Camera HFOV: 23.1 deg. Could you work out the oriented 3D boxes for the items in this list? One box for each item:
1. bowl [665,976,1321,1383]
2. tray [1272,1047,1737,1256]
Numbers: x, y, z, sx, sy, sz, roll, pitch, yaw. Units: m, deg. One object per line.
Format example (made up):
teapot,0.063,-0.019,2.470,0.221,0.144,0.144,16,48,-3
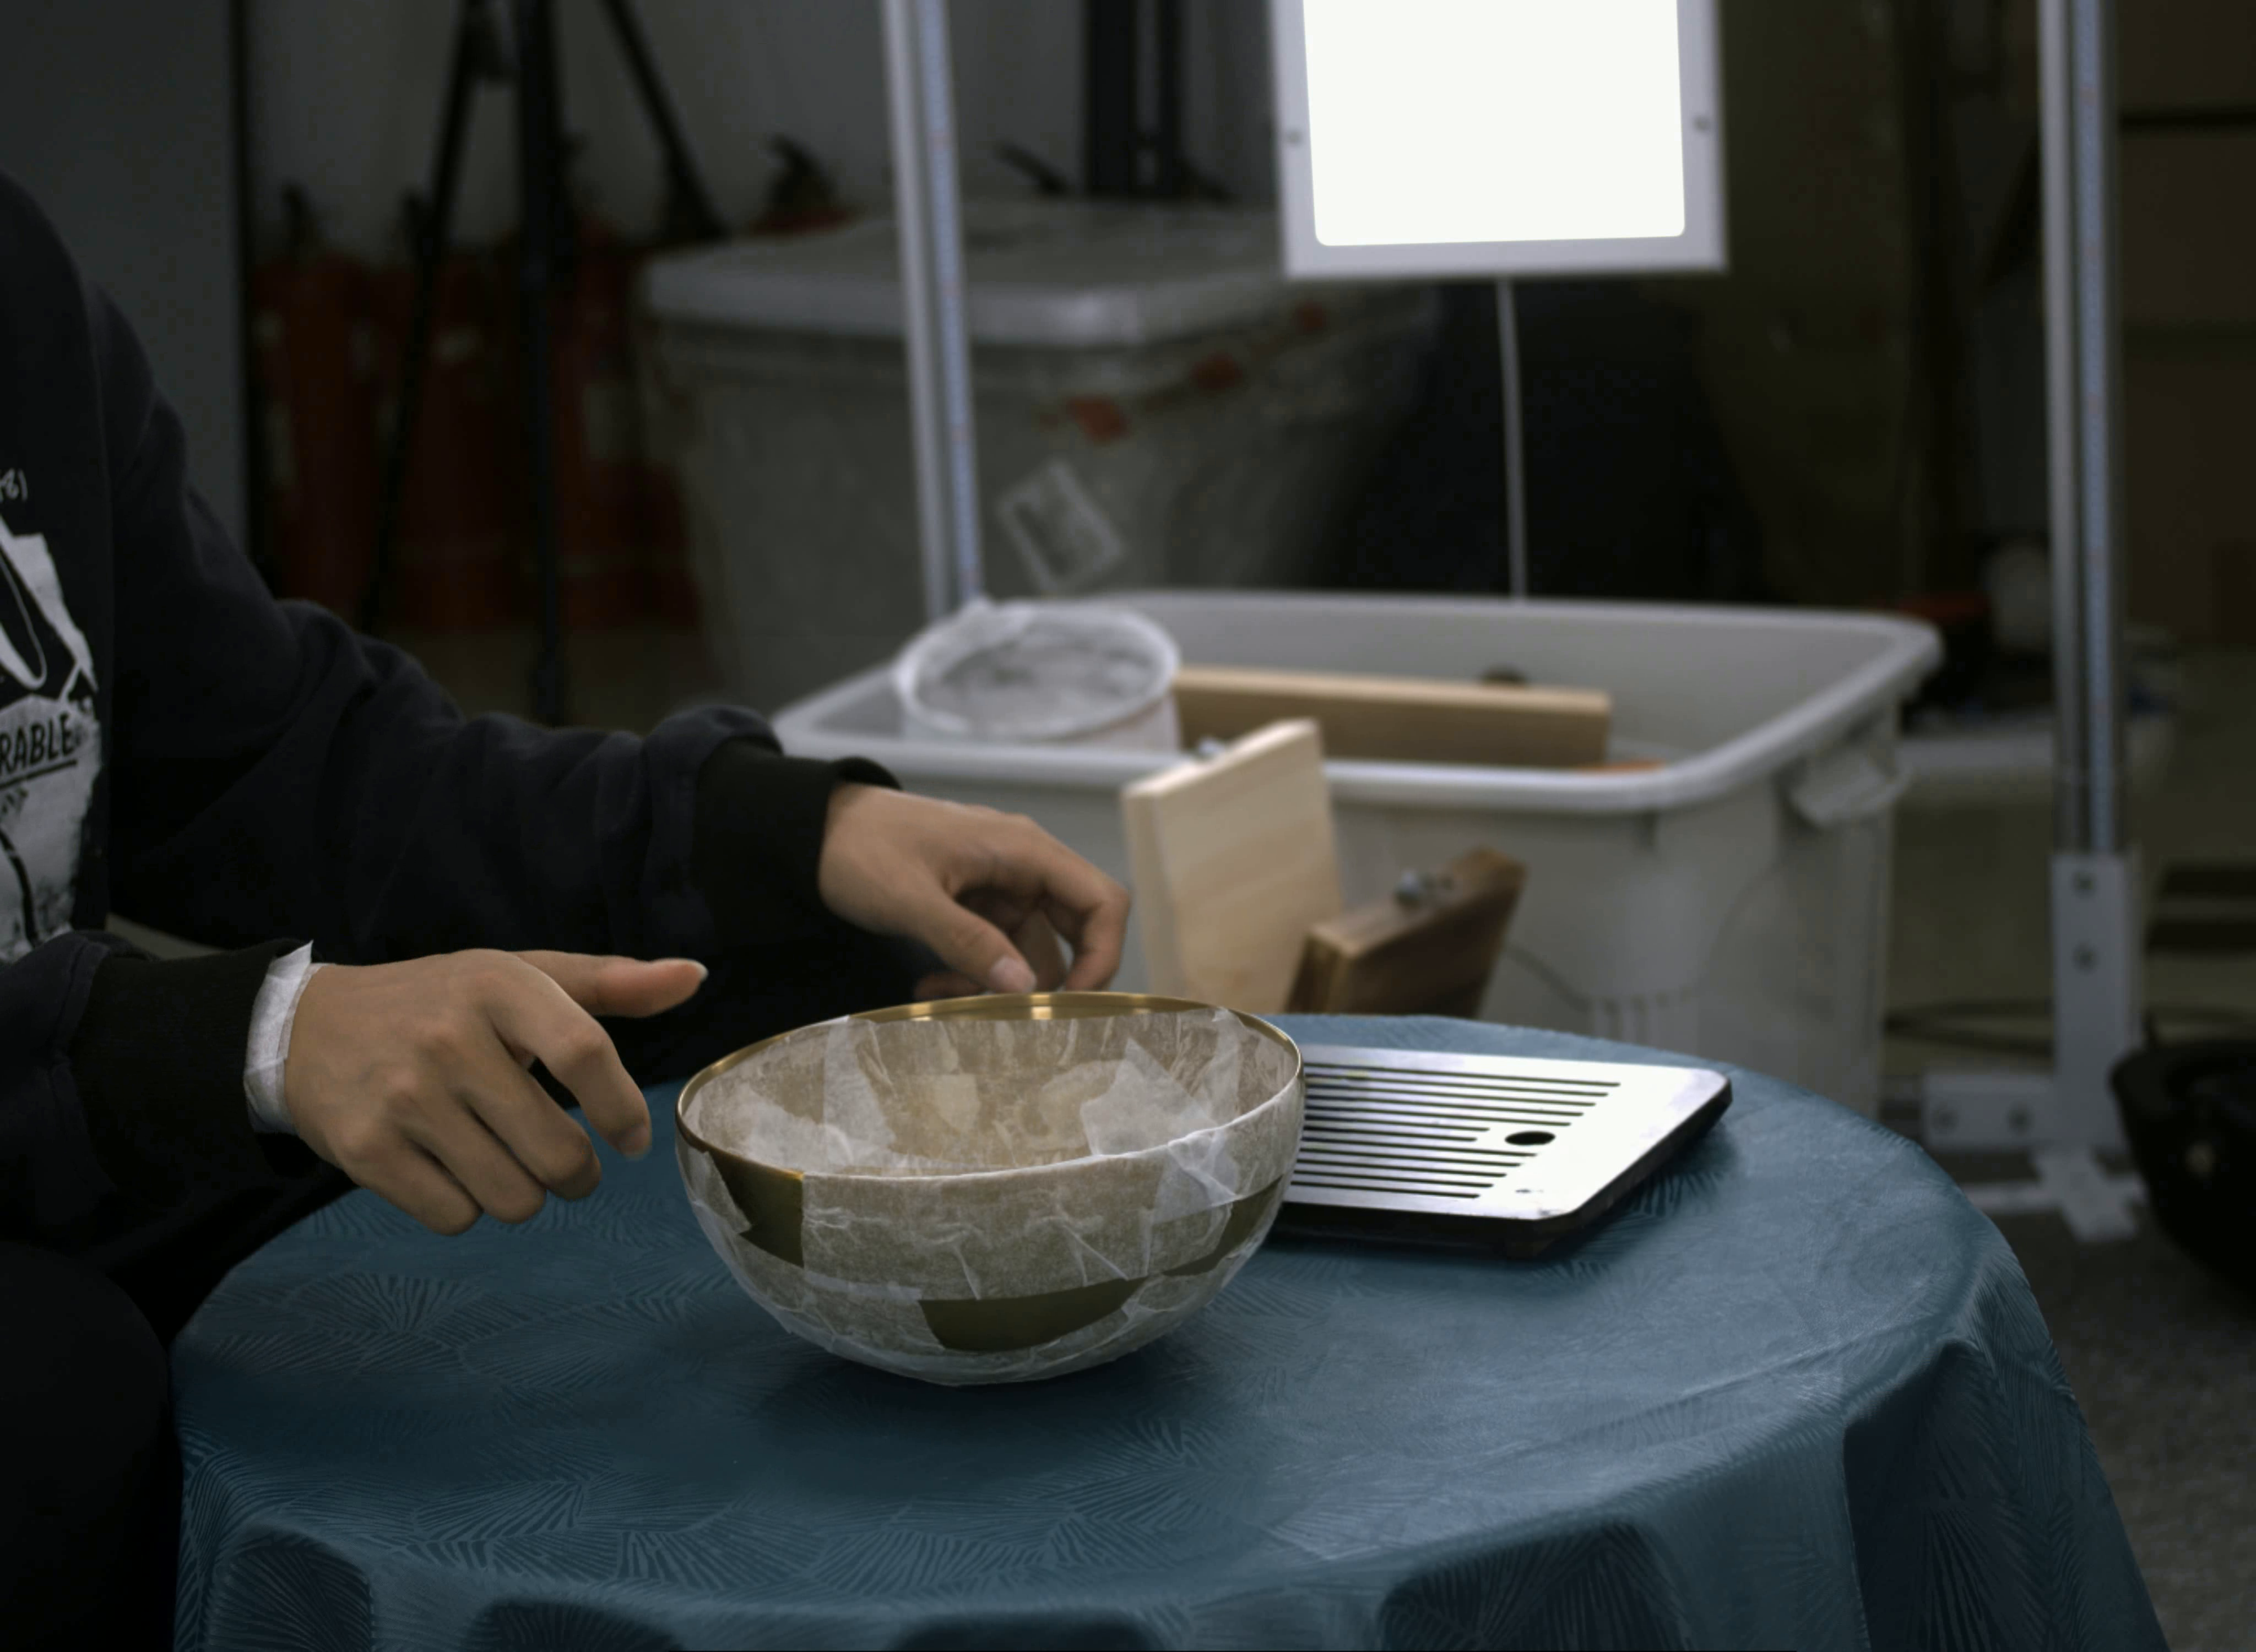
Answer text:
bowl,-0.039,0.119,1.743,0.214,0.095,0.214,-6,15,0
tray,0.045,0.108,1.921,0.311,0.019,0.166,2,15,28
